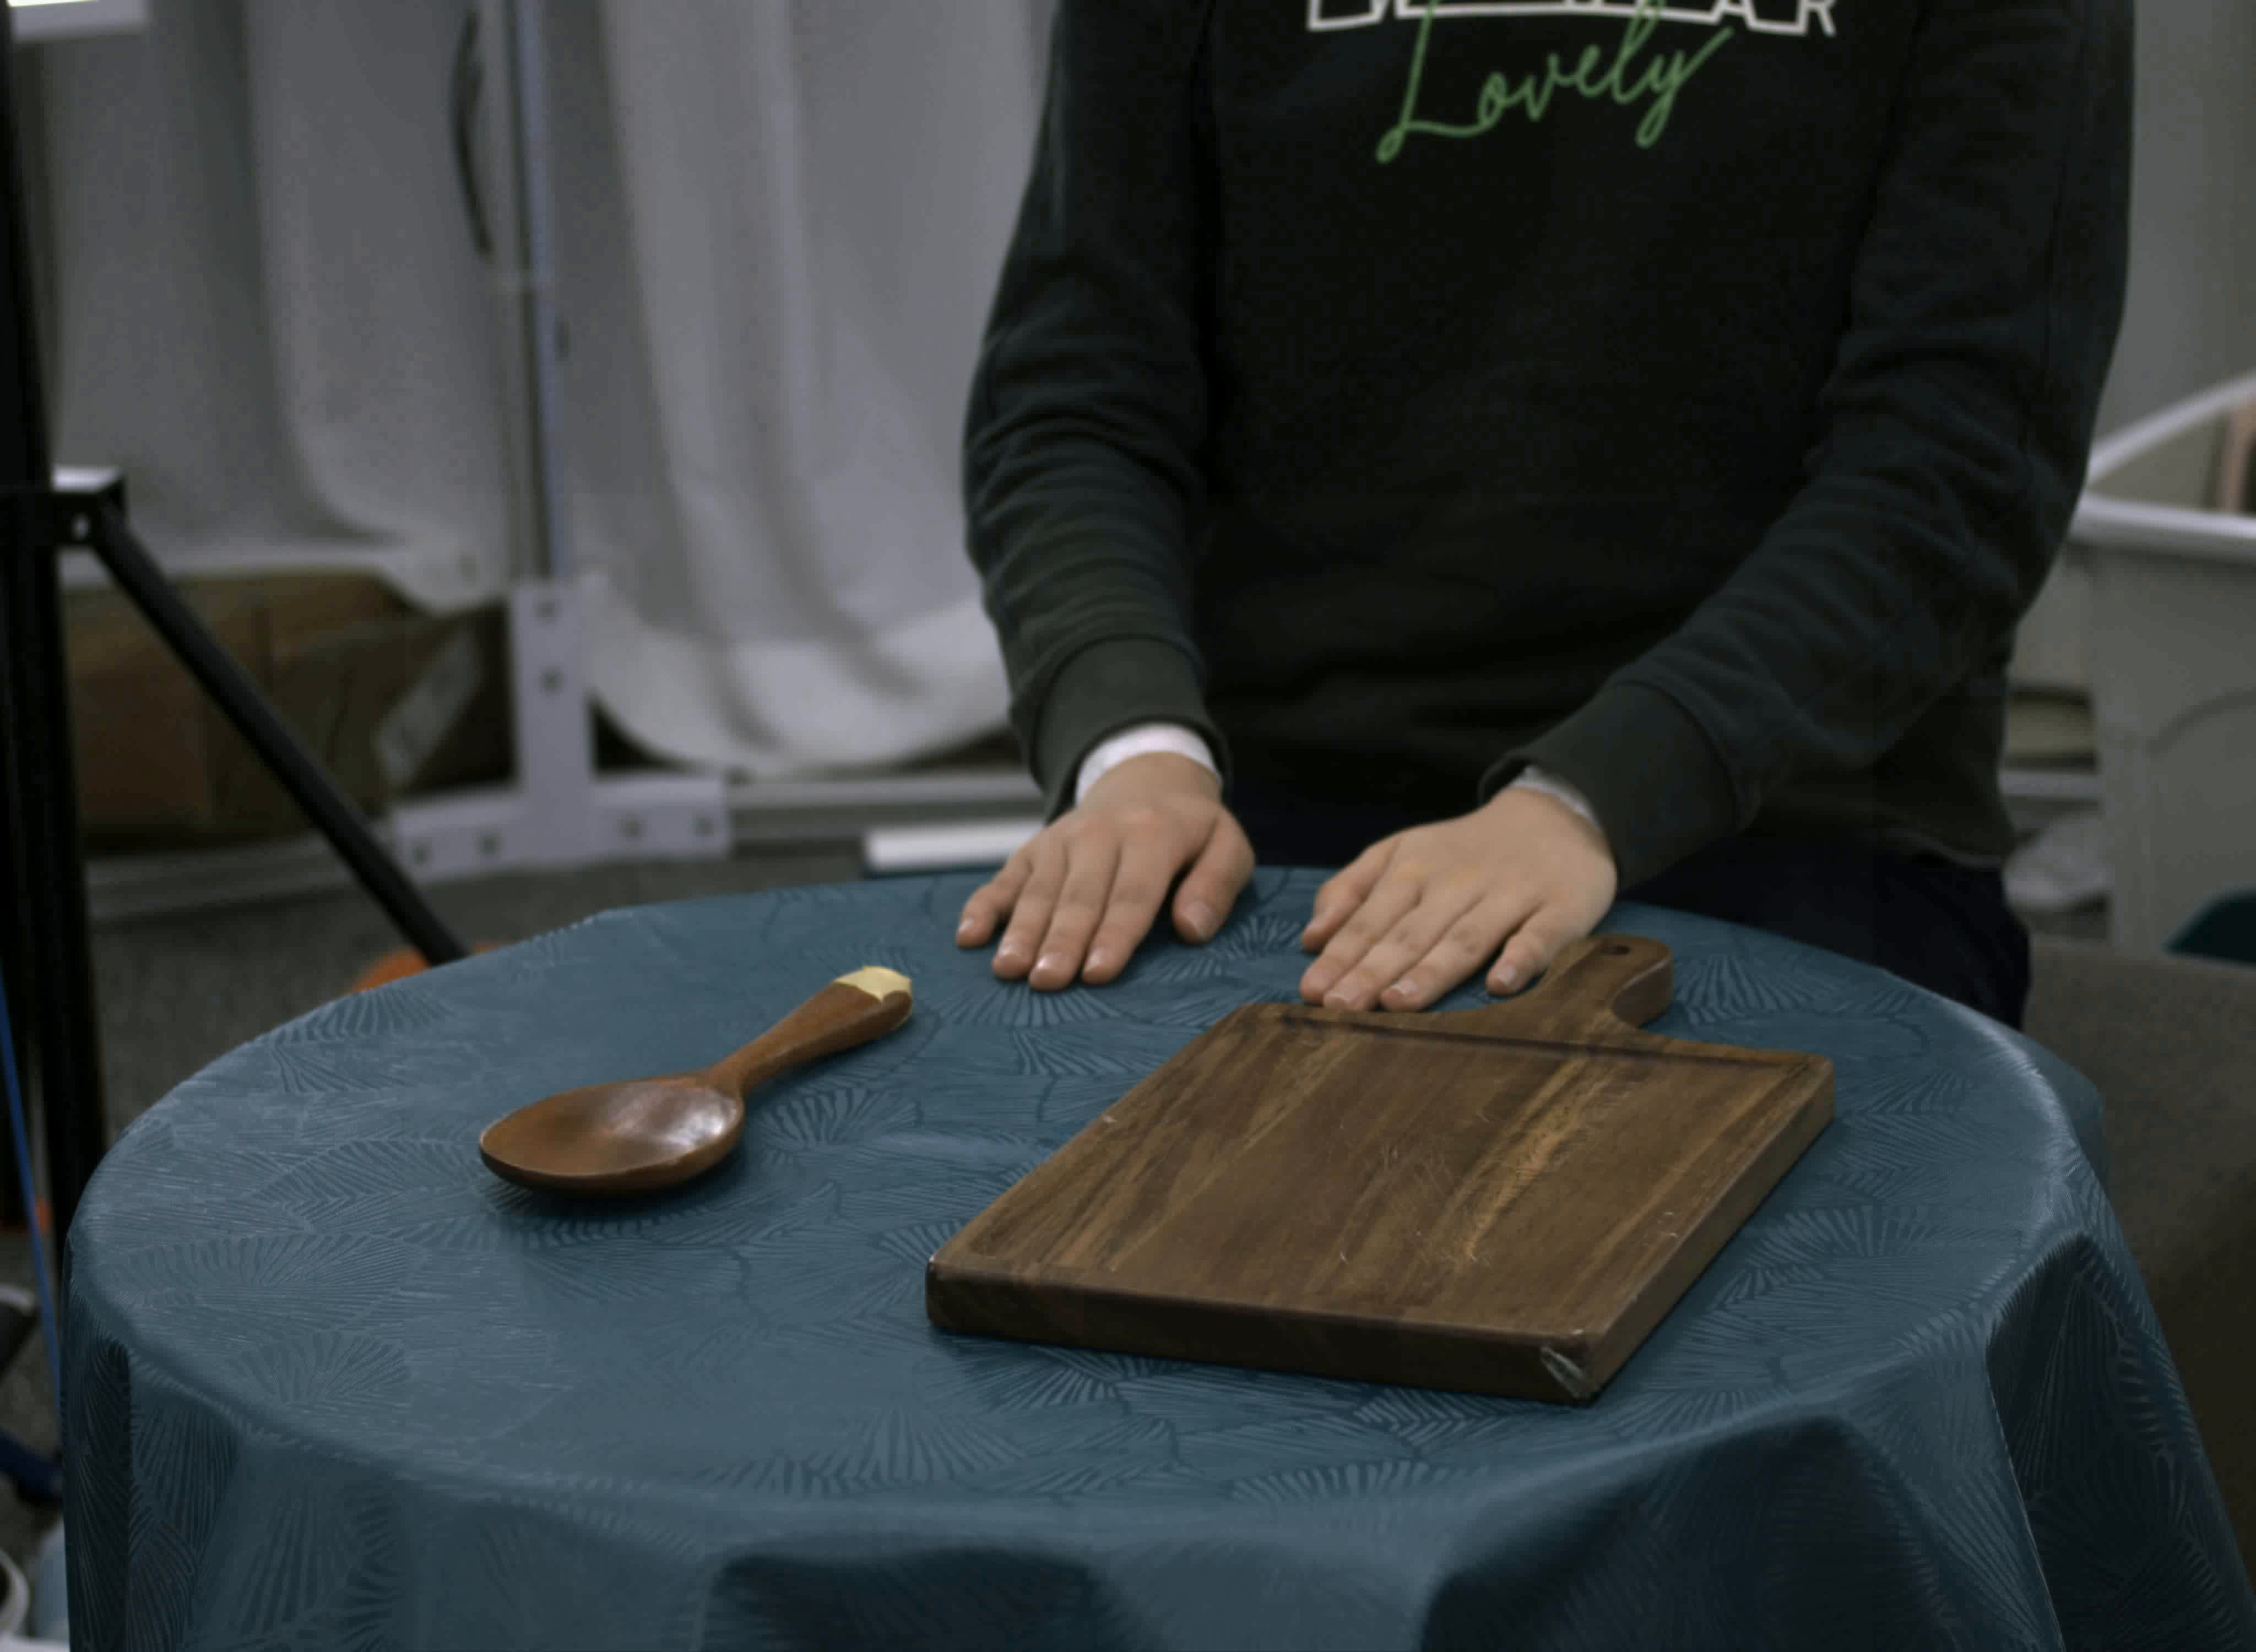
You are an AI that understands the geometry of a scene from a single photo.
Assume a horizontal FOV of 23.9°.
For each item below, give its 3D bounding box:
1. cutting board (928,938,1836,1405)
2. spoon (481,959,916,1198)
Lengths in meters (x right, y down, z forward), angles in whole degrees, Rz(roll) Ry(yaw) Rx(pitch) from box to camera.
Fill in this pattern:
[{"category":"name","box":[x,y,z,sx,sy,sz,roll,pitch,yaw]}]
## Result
[{"category":"cutting board","box":[0.097,0.092,1.566,0.204,0.023,0.347,3,16,23]},{"category":"spoon","box":[-0.123,0.079,1.648,0.077,0.017,0.212,4,18,28]}]
